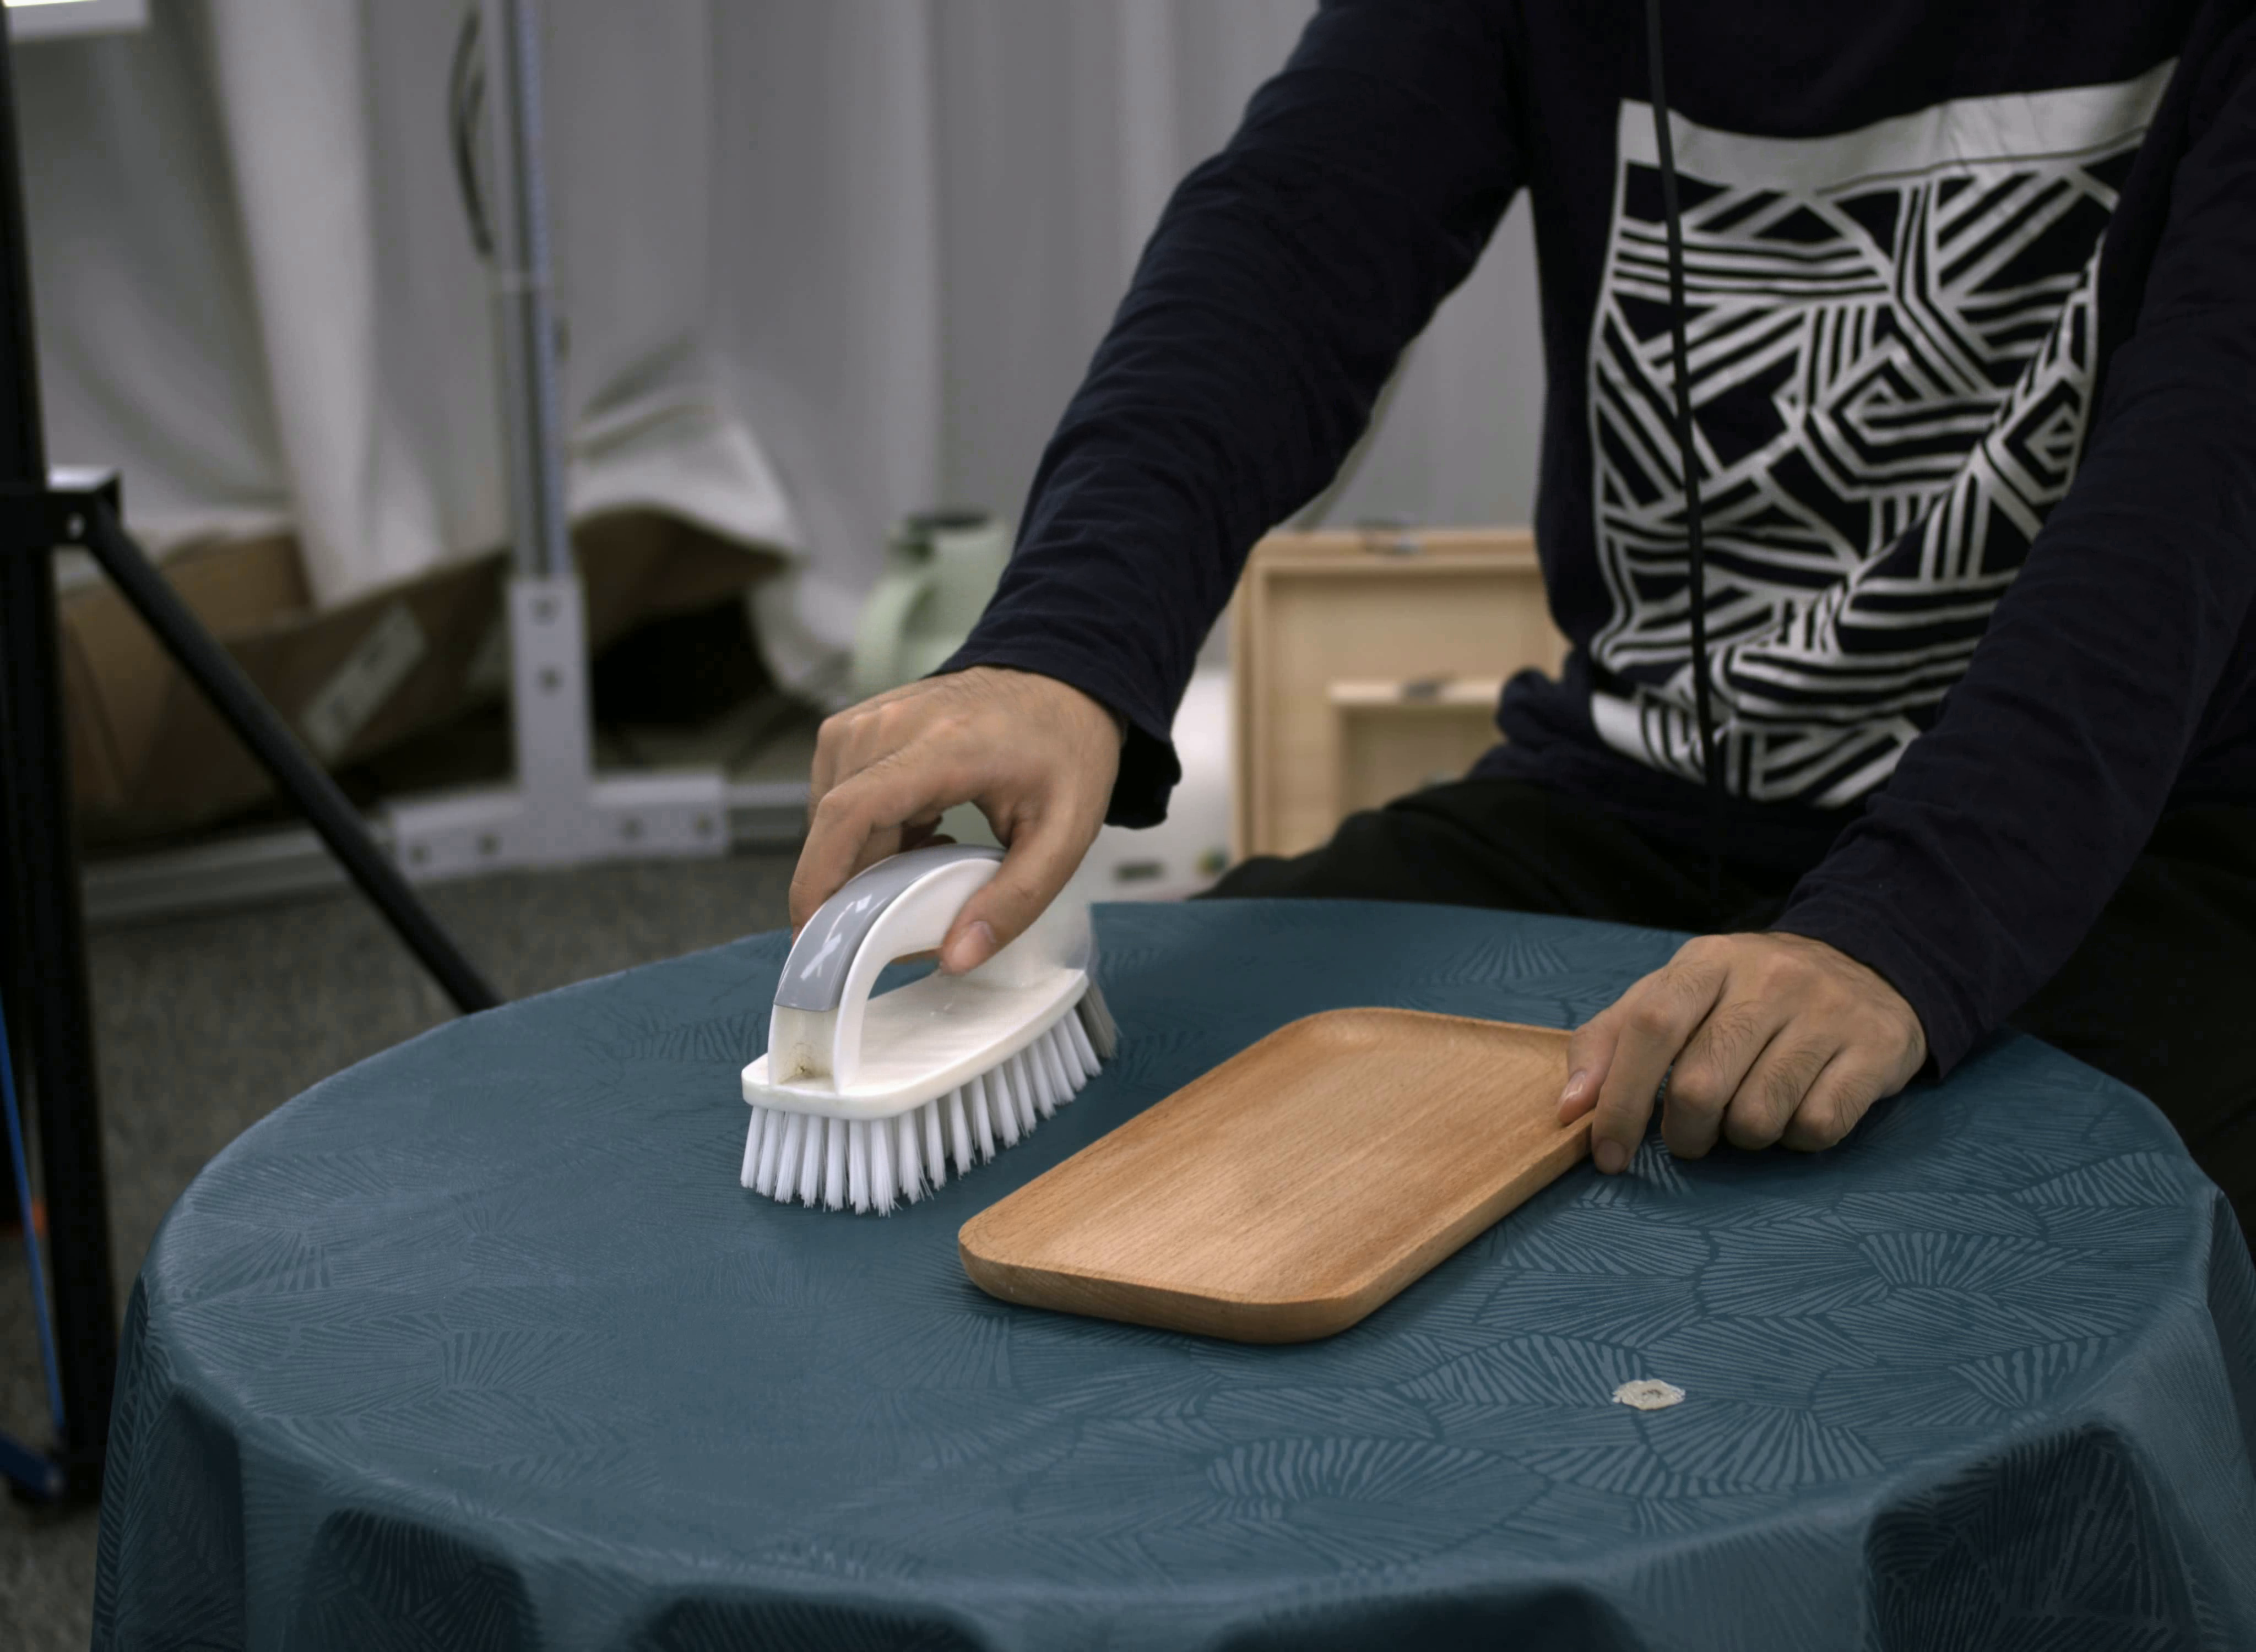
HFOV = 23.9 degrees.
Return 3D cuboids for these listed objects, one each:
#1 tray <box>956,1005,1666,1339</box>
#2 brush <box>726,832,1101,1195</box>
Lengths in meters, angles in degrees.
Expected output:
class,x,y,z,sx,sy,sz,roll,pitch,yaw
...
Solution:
class,x,y,z,sx,sy,sz,roll,pitch,yaw
tray,0.058,0.099,1.554,0.133,0.023,0.246,9,19,29
brush,-0.056,0.046,1.620,0.062,0.094,0.172,7,16,31
